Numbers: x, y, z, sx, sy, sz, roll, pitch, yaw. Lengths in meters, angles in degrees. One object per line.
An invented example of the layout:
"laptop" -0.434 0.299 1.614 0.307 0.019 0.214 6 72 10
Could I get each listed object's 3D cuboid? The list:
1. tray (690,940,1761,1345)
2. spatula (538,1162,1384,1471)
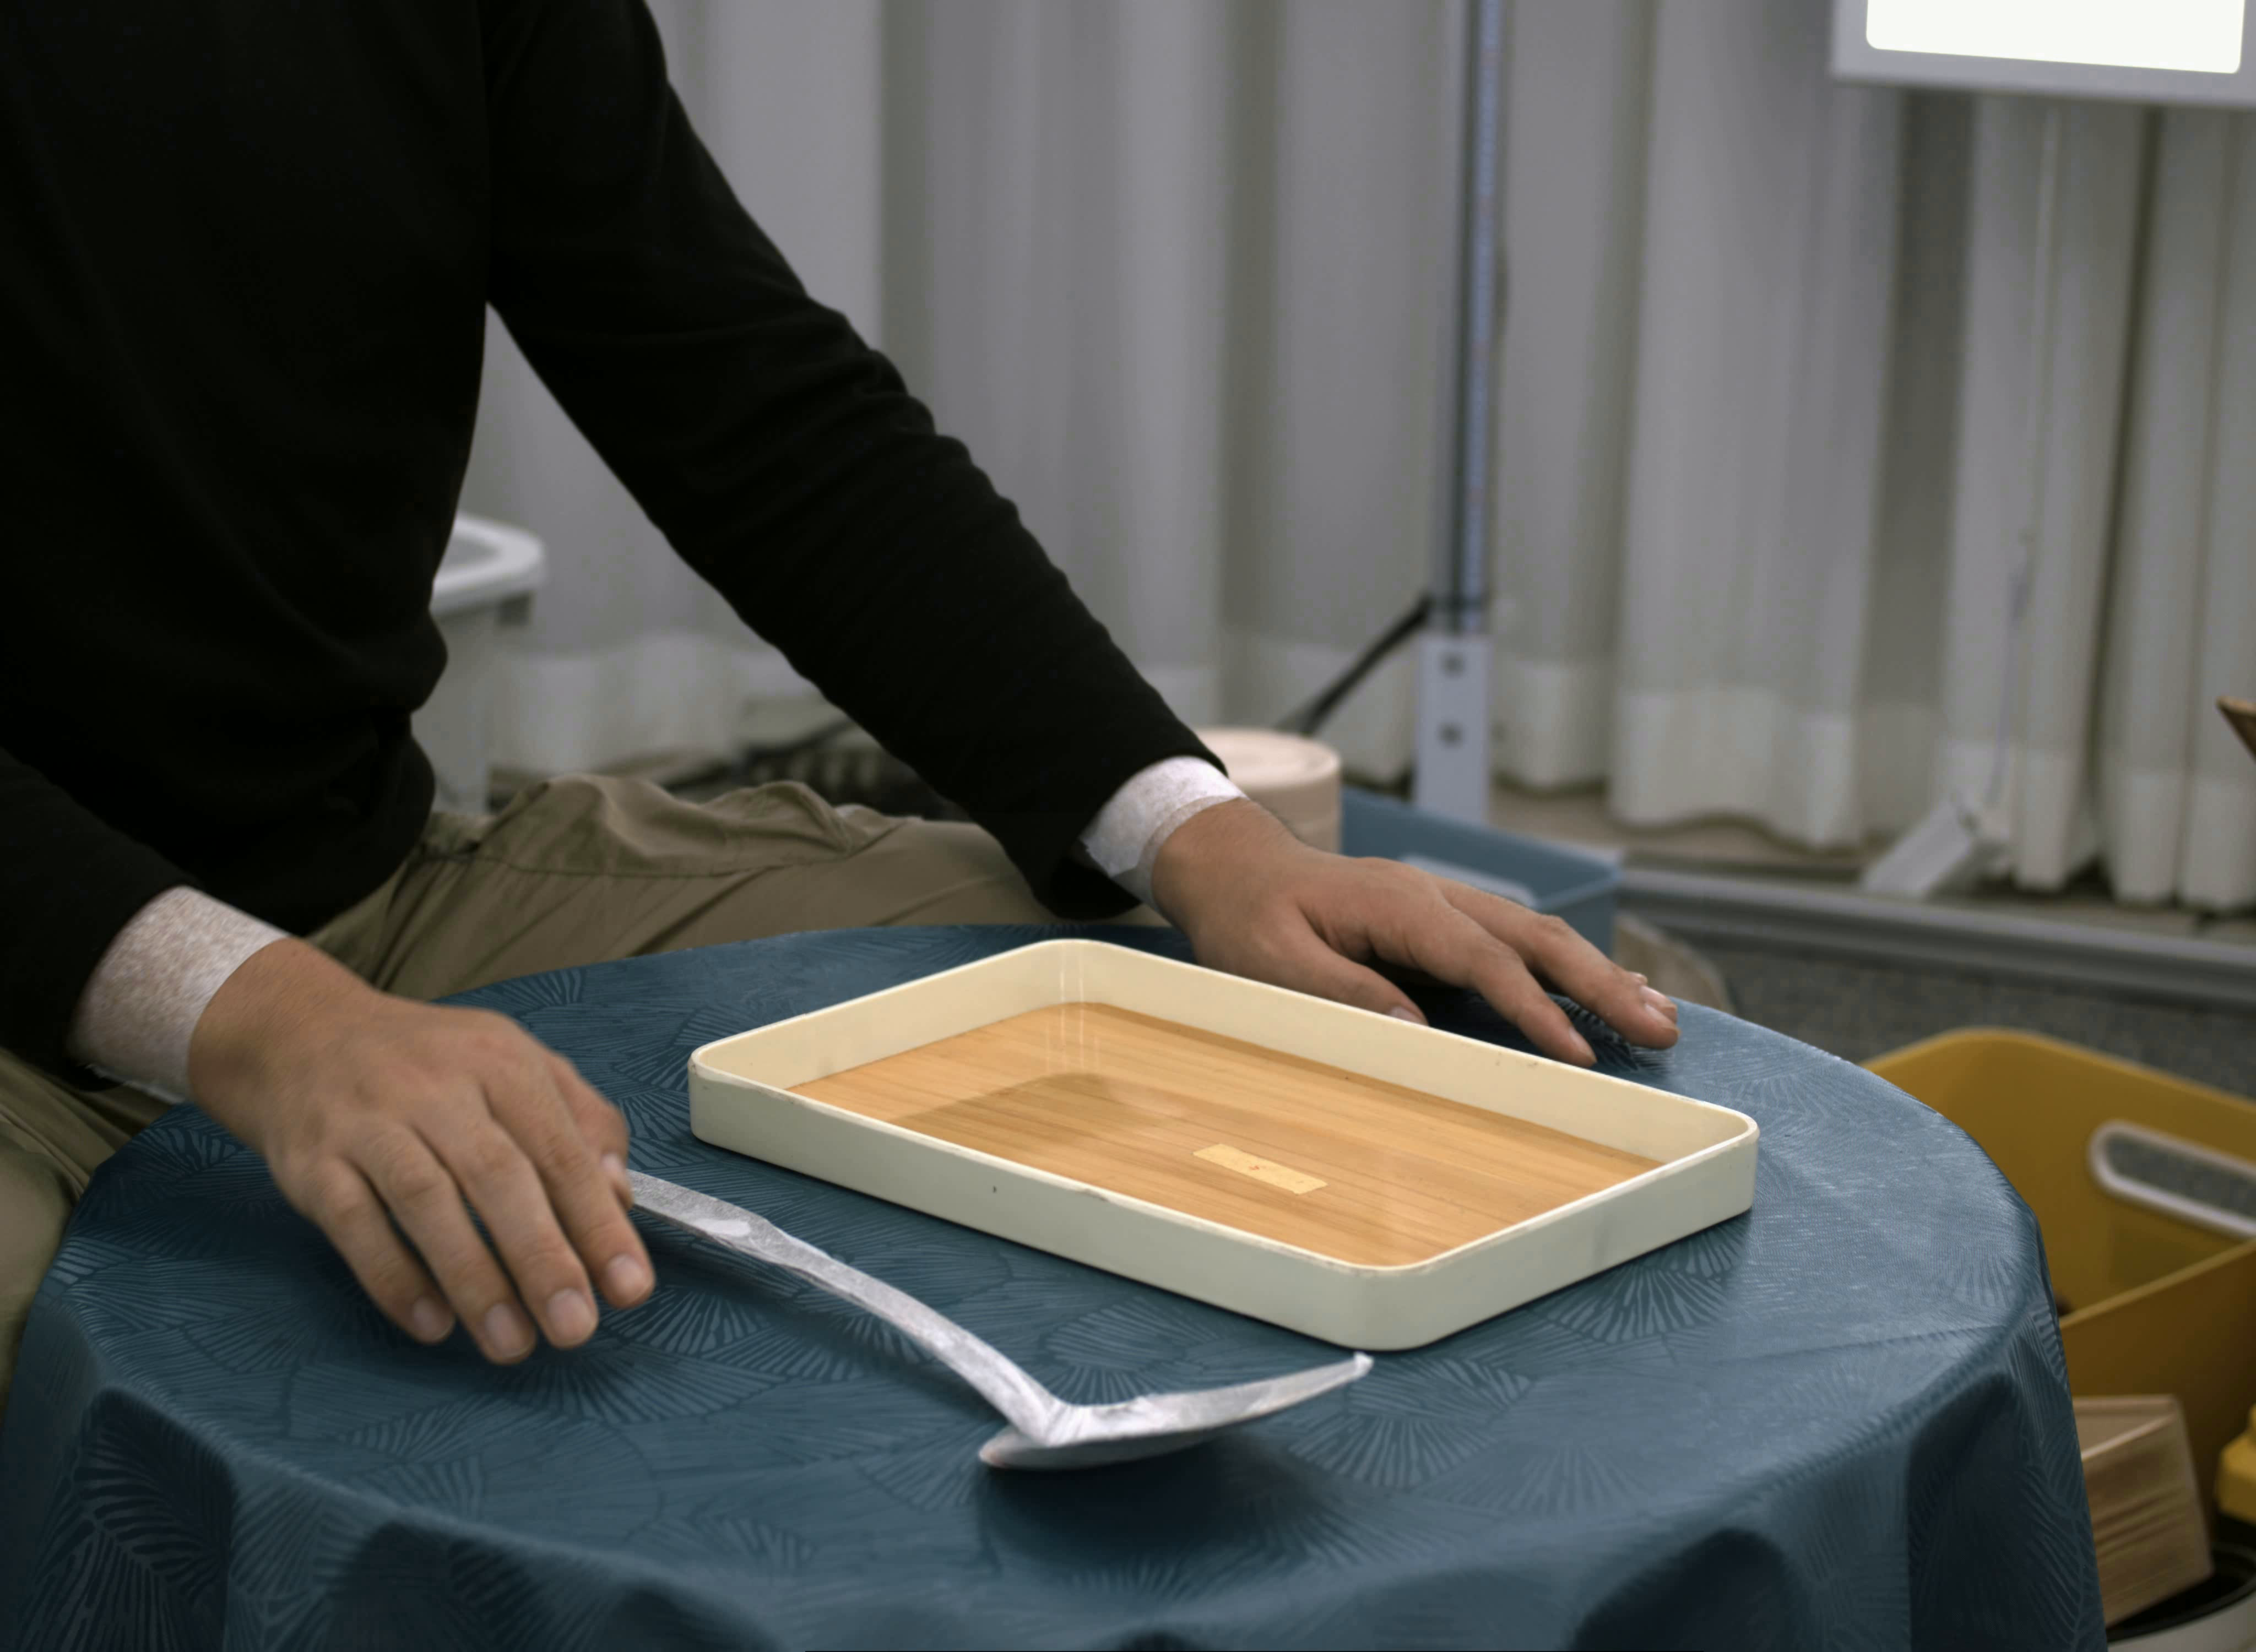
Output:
"tray" 0.027 0.094 1.638 0.296 0.027 0.192 14 20 40
"spatula" -0.072 0.128 1.488 0.099 0.045 0.360 -12 20 -37
